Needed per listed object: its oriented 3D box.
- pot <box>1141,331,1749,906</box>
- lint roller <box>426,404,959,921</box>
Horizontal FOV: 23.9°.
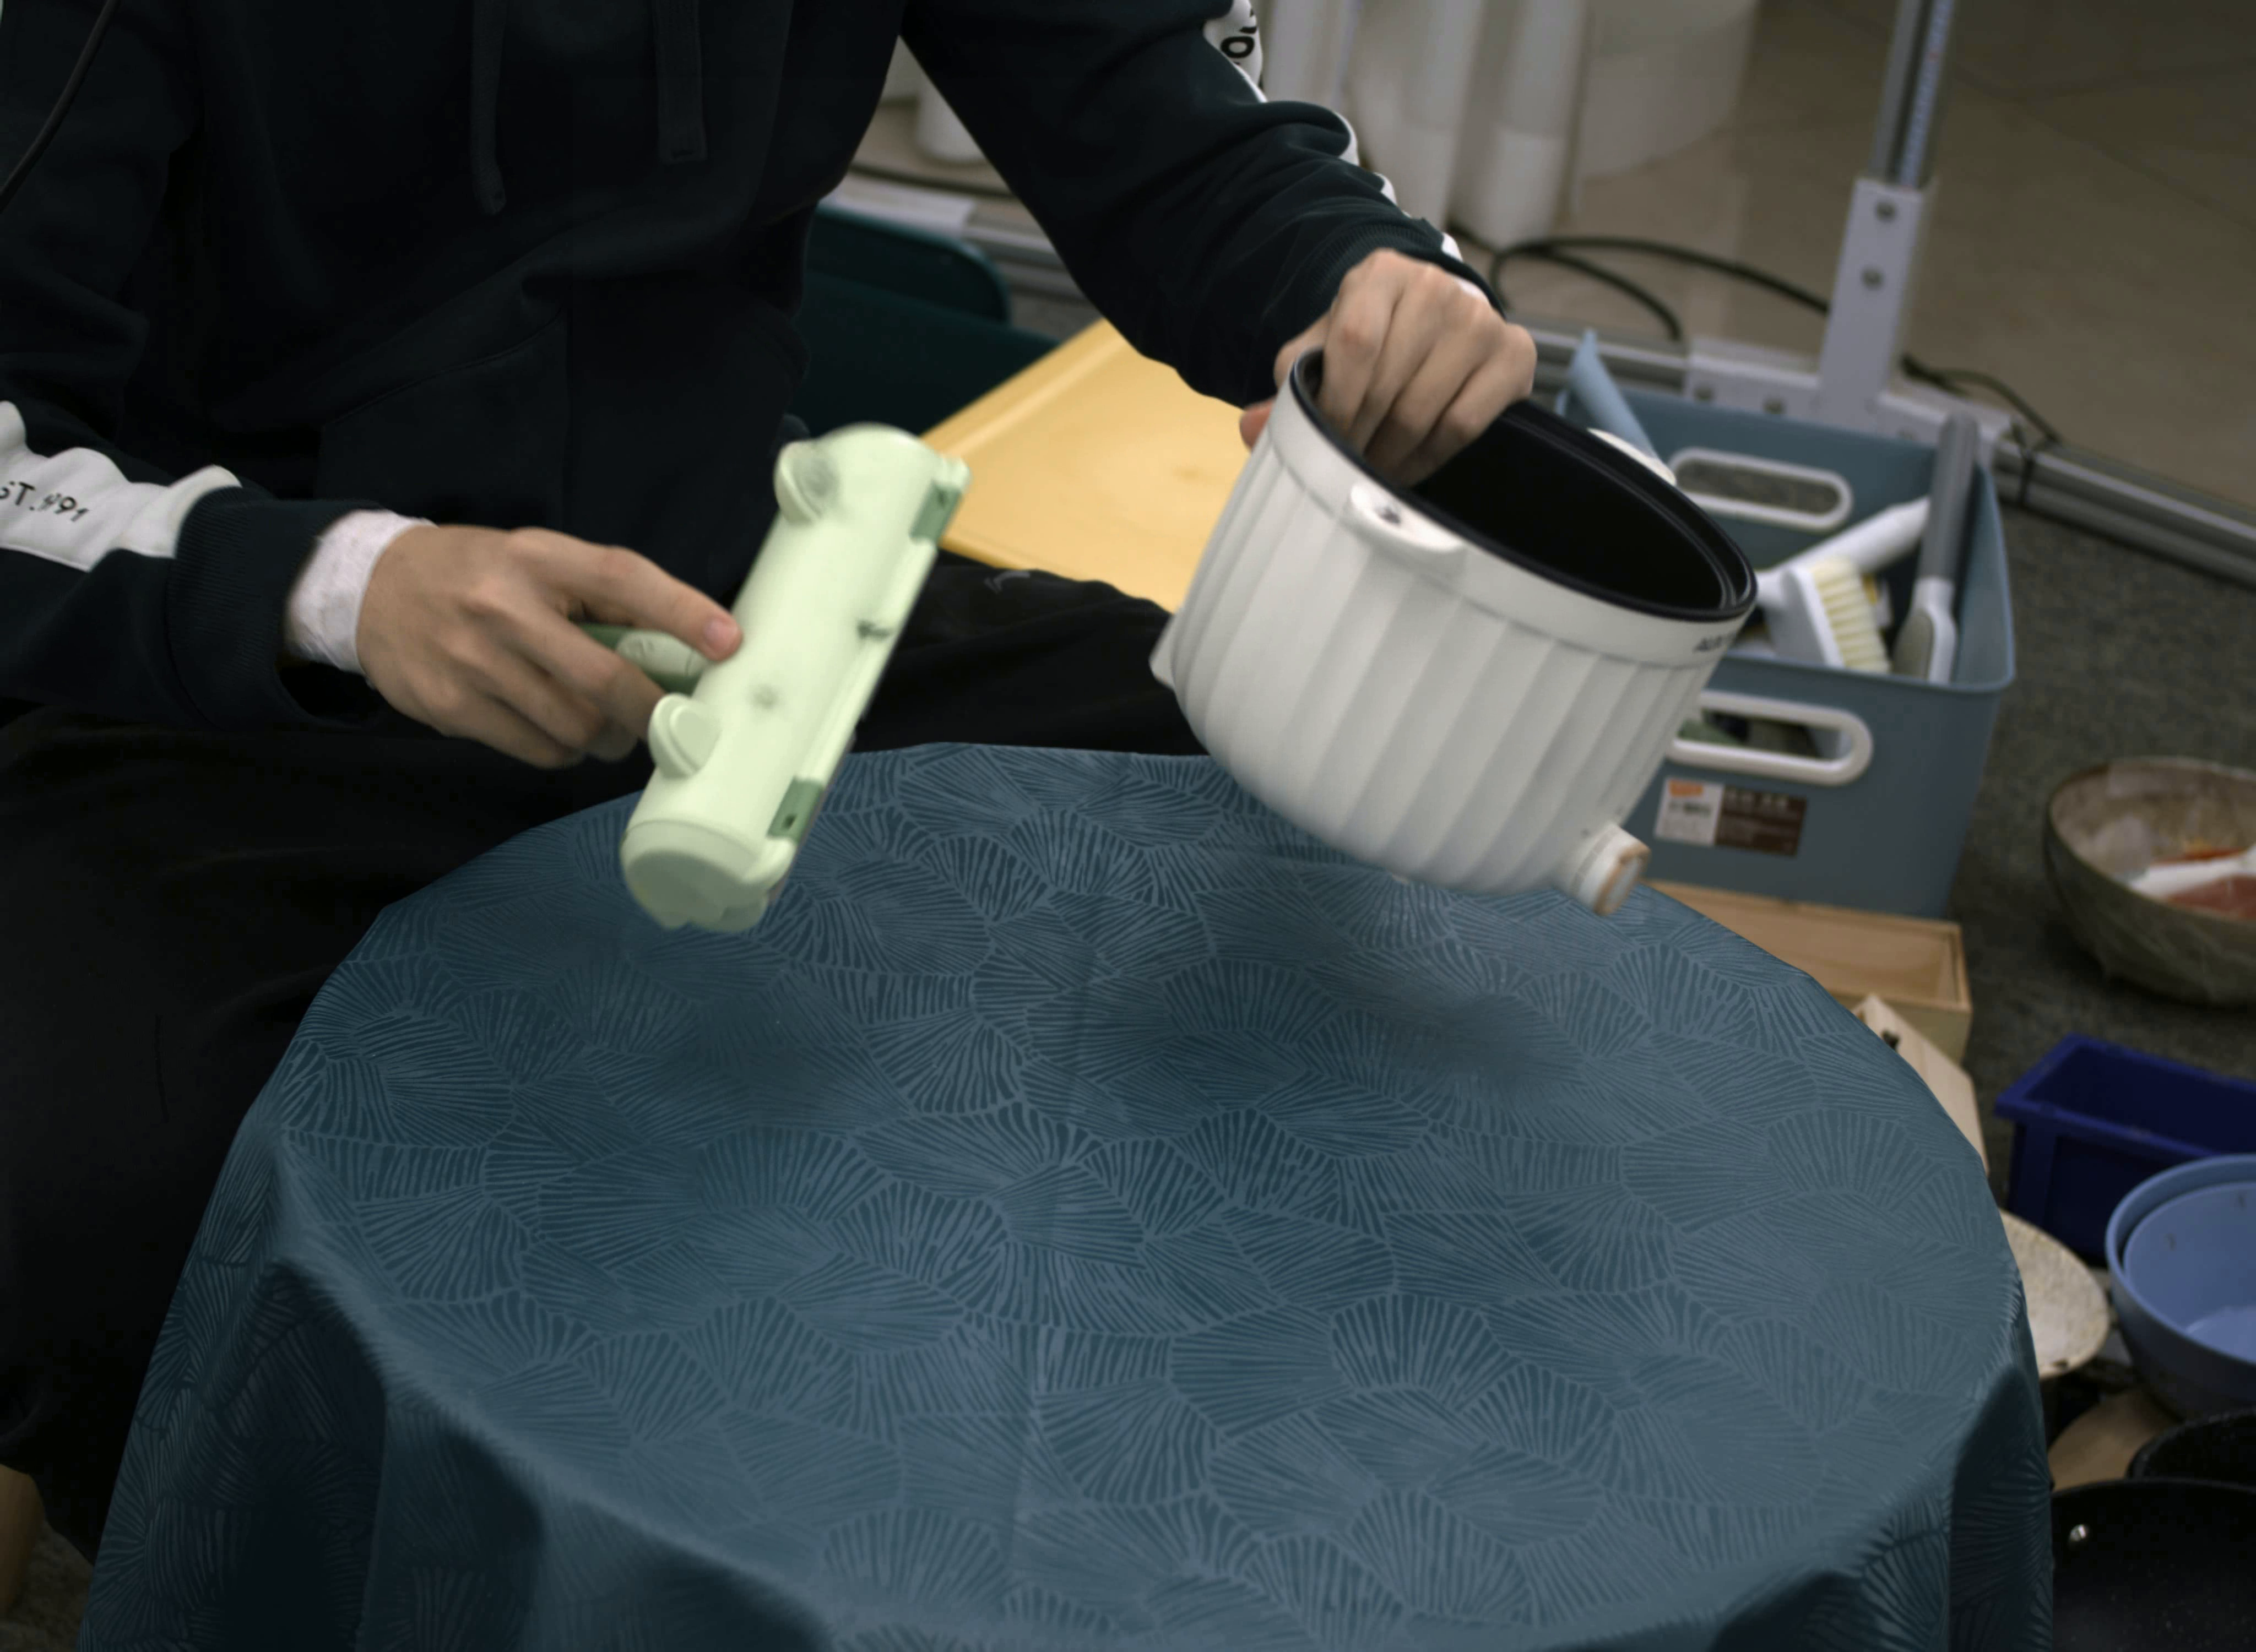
[{"bbox_3d":[0.112,-0.068,1.875,0.191,0.142,0.239,32,22,19],"label":"pot"},{"bbox_3d":[-0.168,-0.067,1.825,0.184,0.081,0.199,6,53,21],"label":"lint roller"}]
